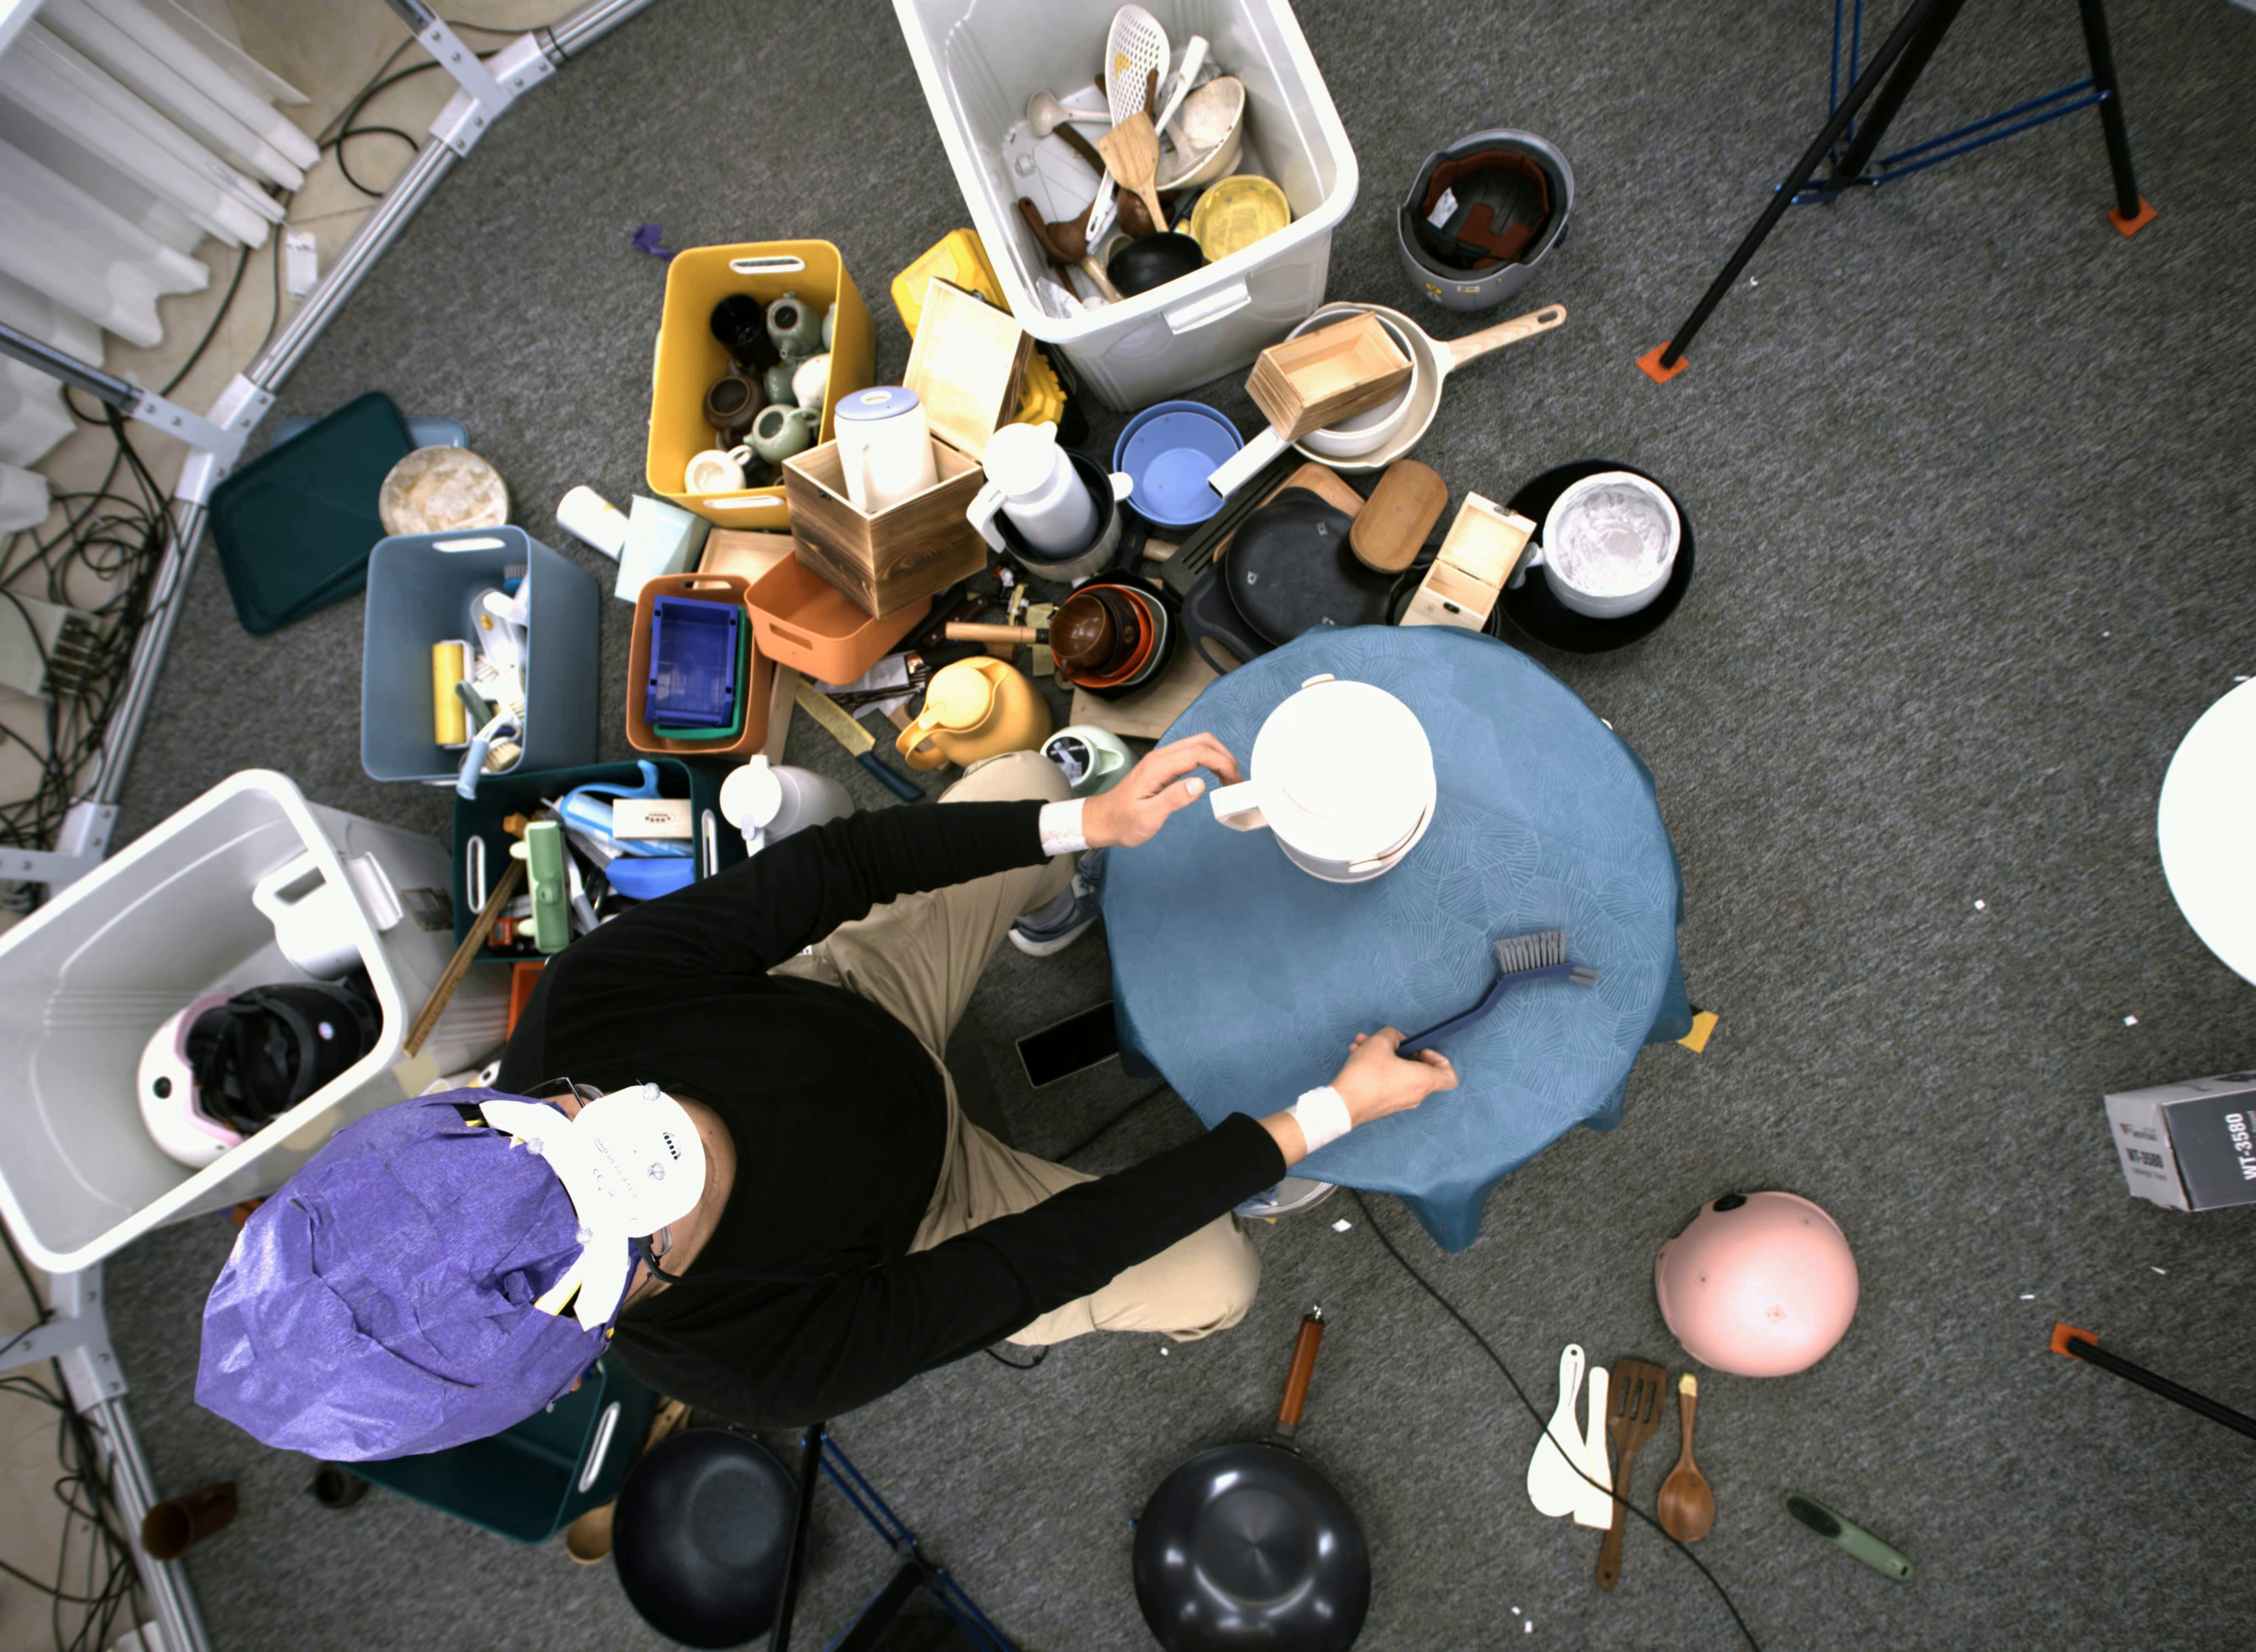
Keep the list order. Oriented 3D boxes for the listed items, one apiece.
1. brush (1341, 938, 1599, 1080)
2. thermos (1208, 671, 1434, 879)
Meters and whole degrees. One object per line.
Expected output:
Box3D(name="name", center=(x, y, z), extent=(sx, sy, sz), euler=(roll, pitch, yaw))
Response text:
Box3D(name="brush", center=(0.347, 0.200, 1.407), extent=(0.273, 0.033, 0.096), euler=(-34, 94, -1))
Box3D(name="thermos", center=(0.184, -0.039, 1.281), extent=(0.208, 0.406, 0.174), euler=(-15, 84, 8))
